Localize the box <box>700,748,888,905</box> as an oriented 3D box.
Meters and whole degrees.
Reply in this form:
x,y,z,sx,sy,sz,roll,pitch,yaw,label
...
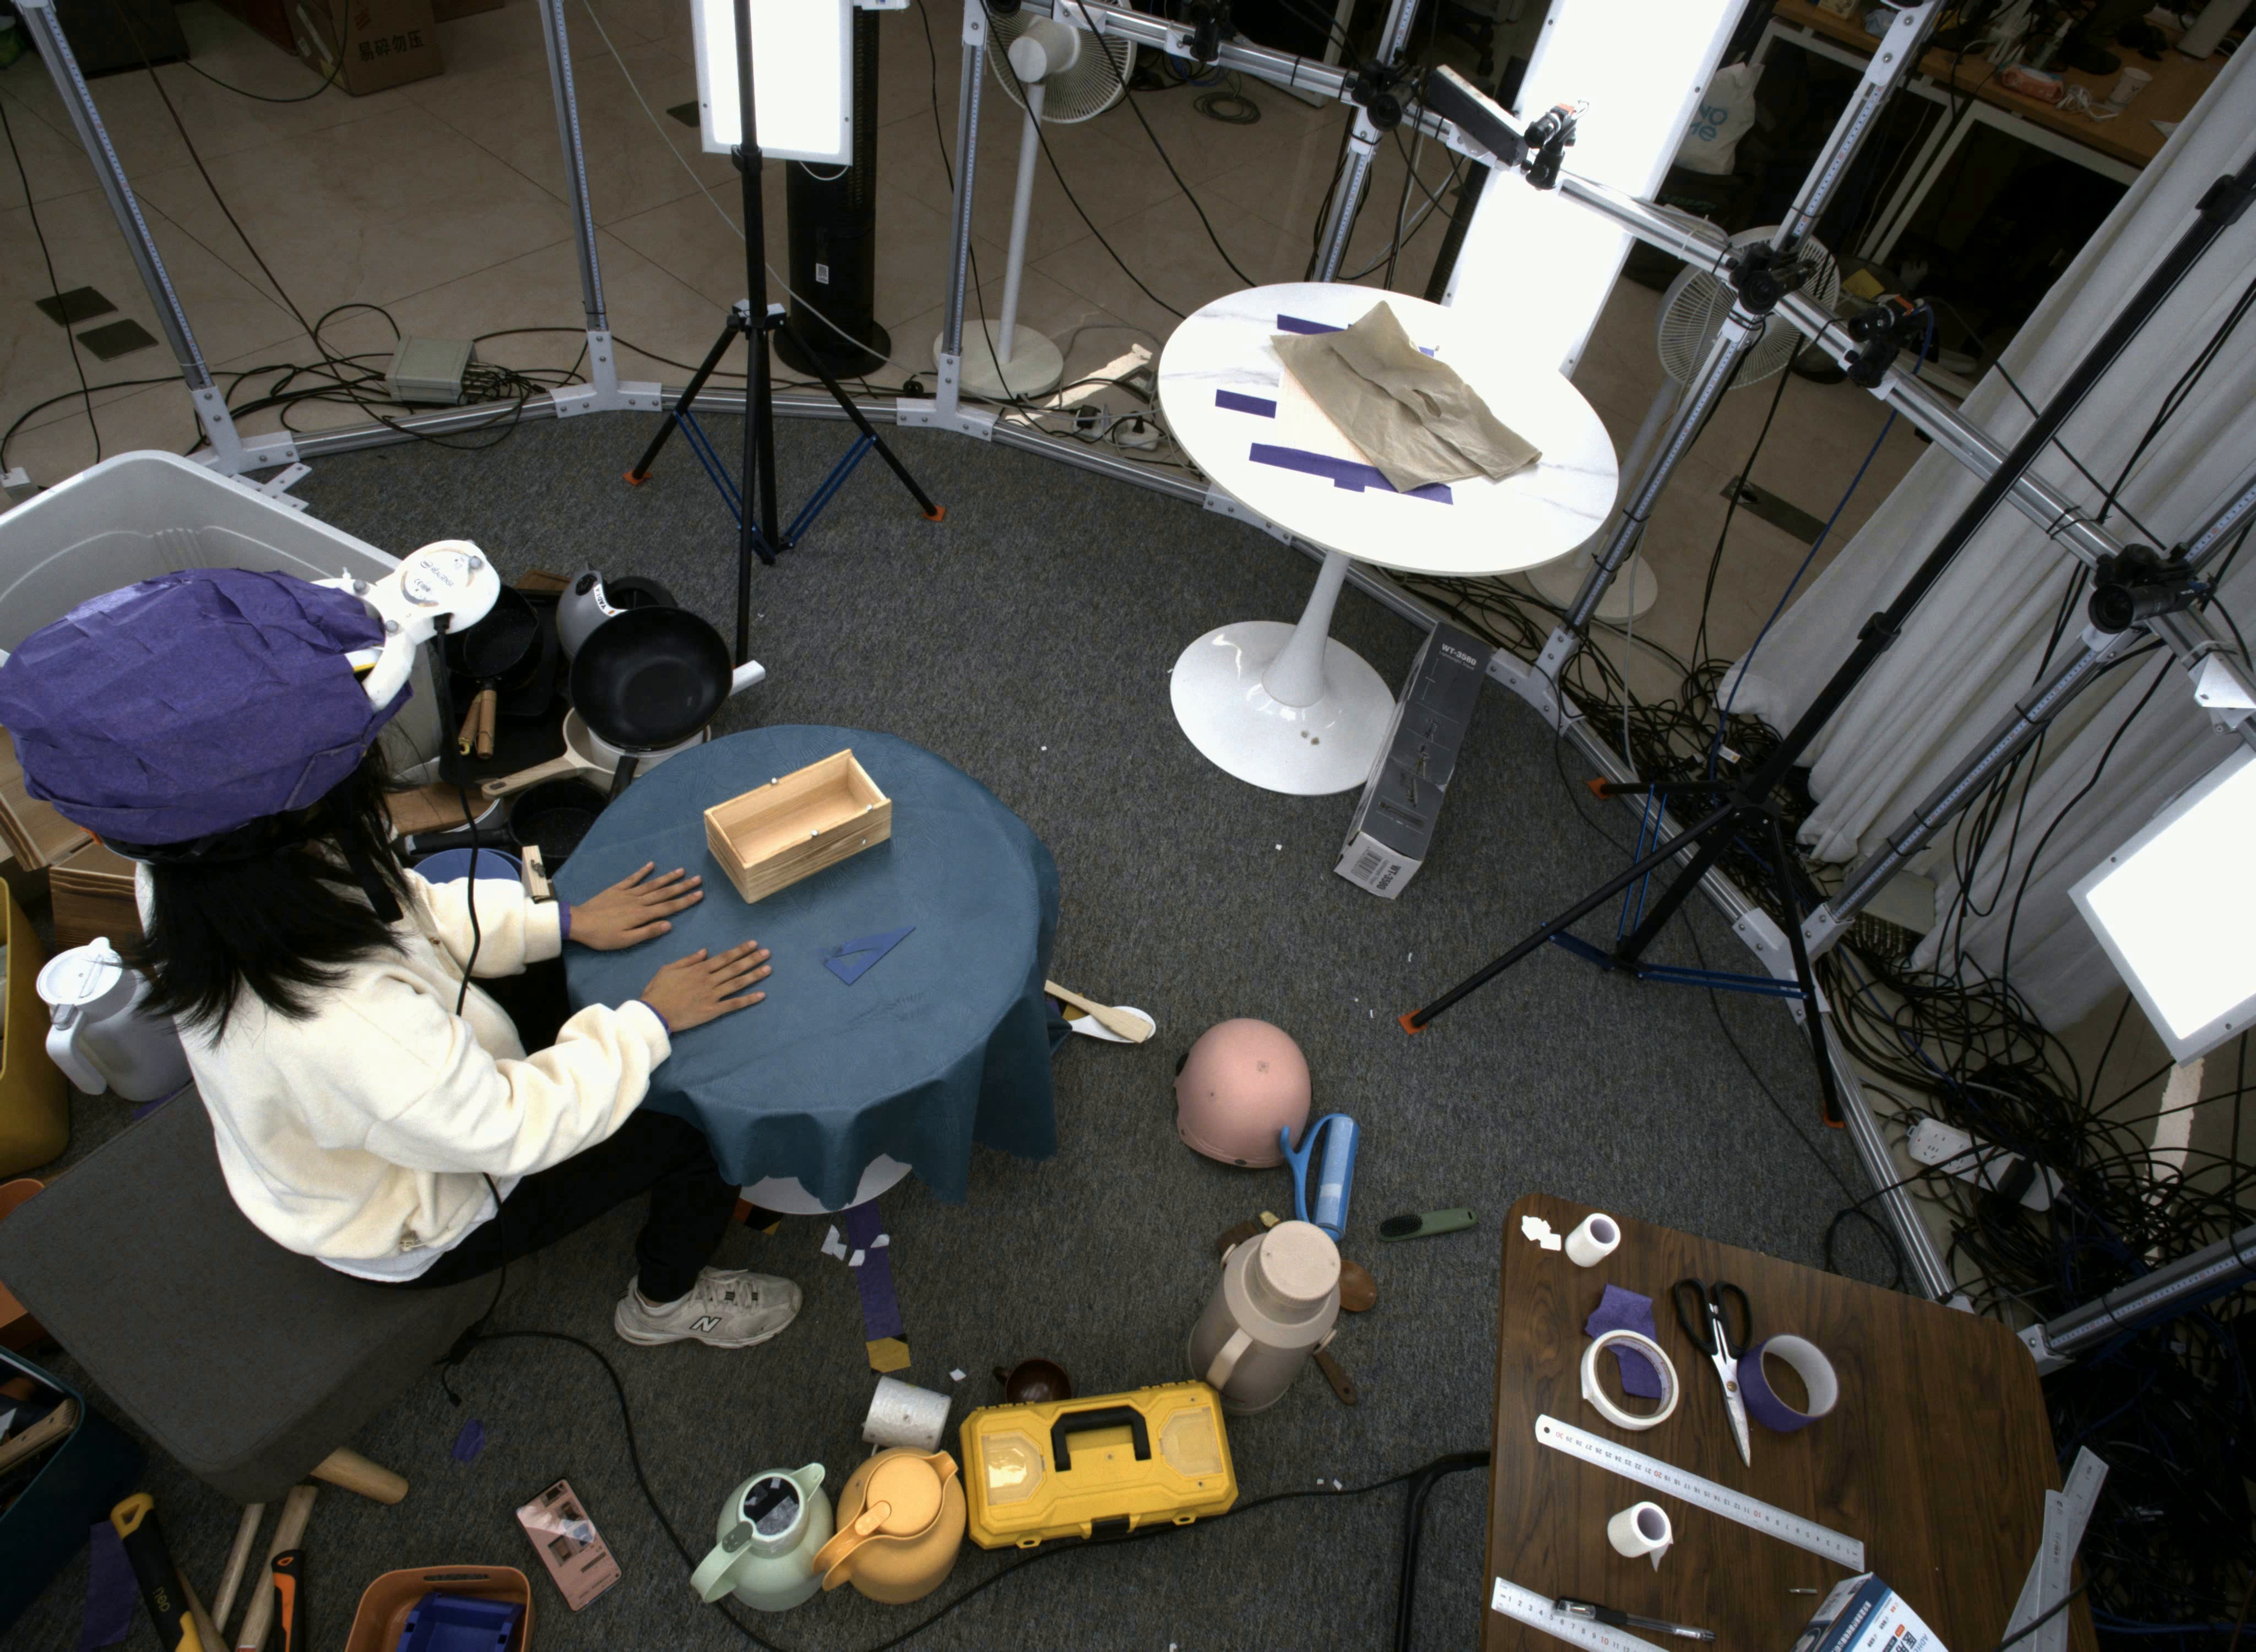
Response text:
x,y,z,sx,sy,sz,roll,pitch,yaw,label
-0.427,-0.003,1.669,0.212,0.082,0.105,-29,63,-31,box

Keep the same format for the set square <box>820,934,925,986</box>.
x,y,z,sx,sy,sz,roll,pitch,yaw,label
-0.313,0.165,1.622,0.132,0.007,0.059,-9,56,-21,set square
